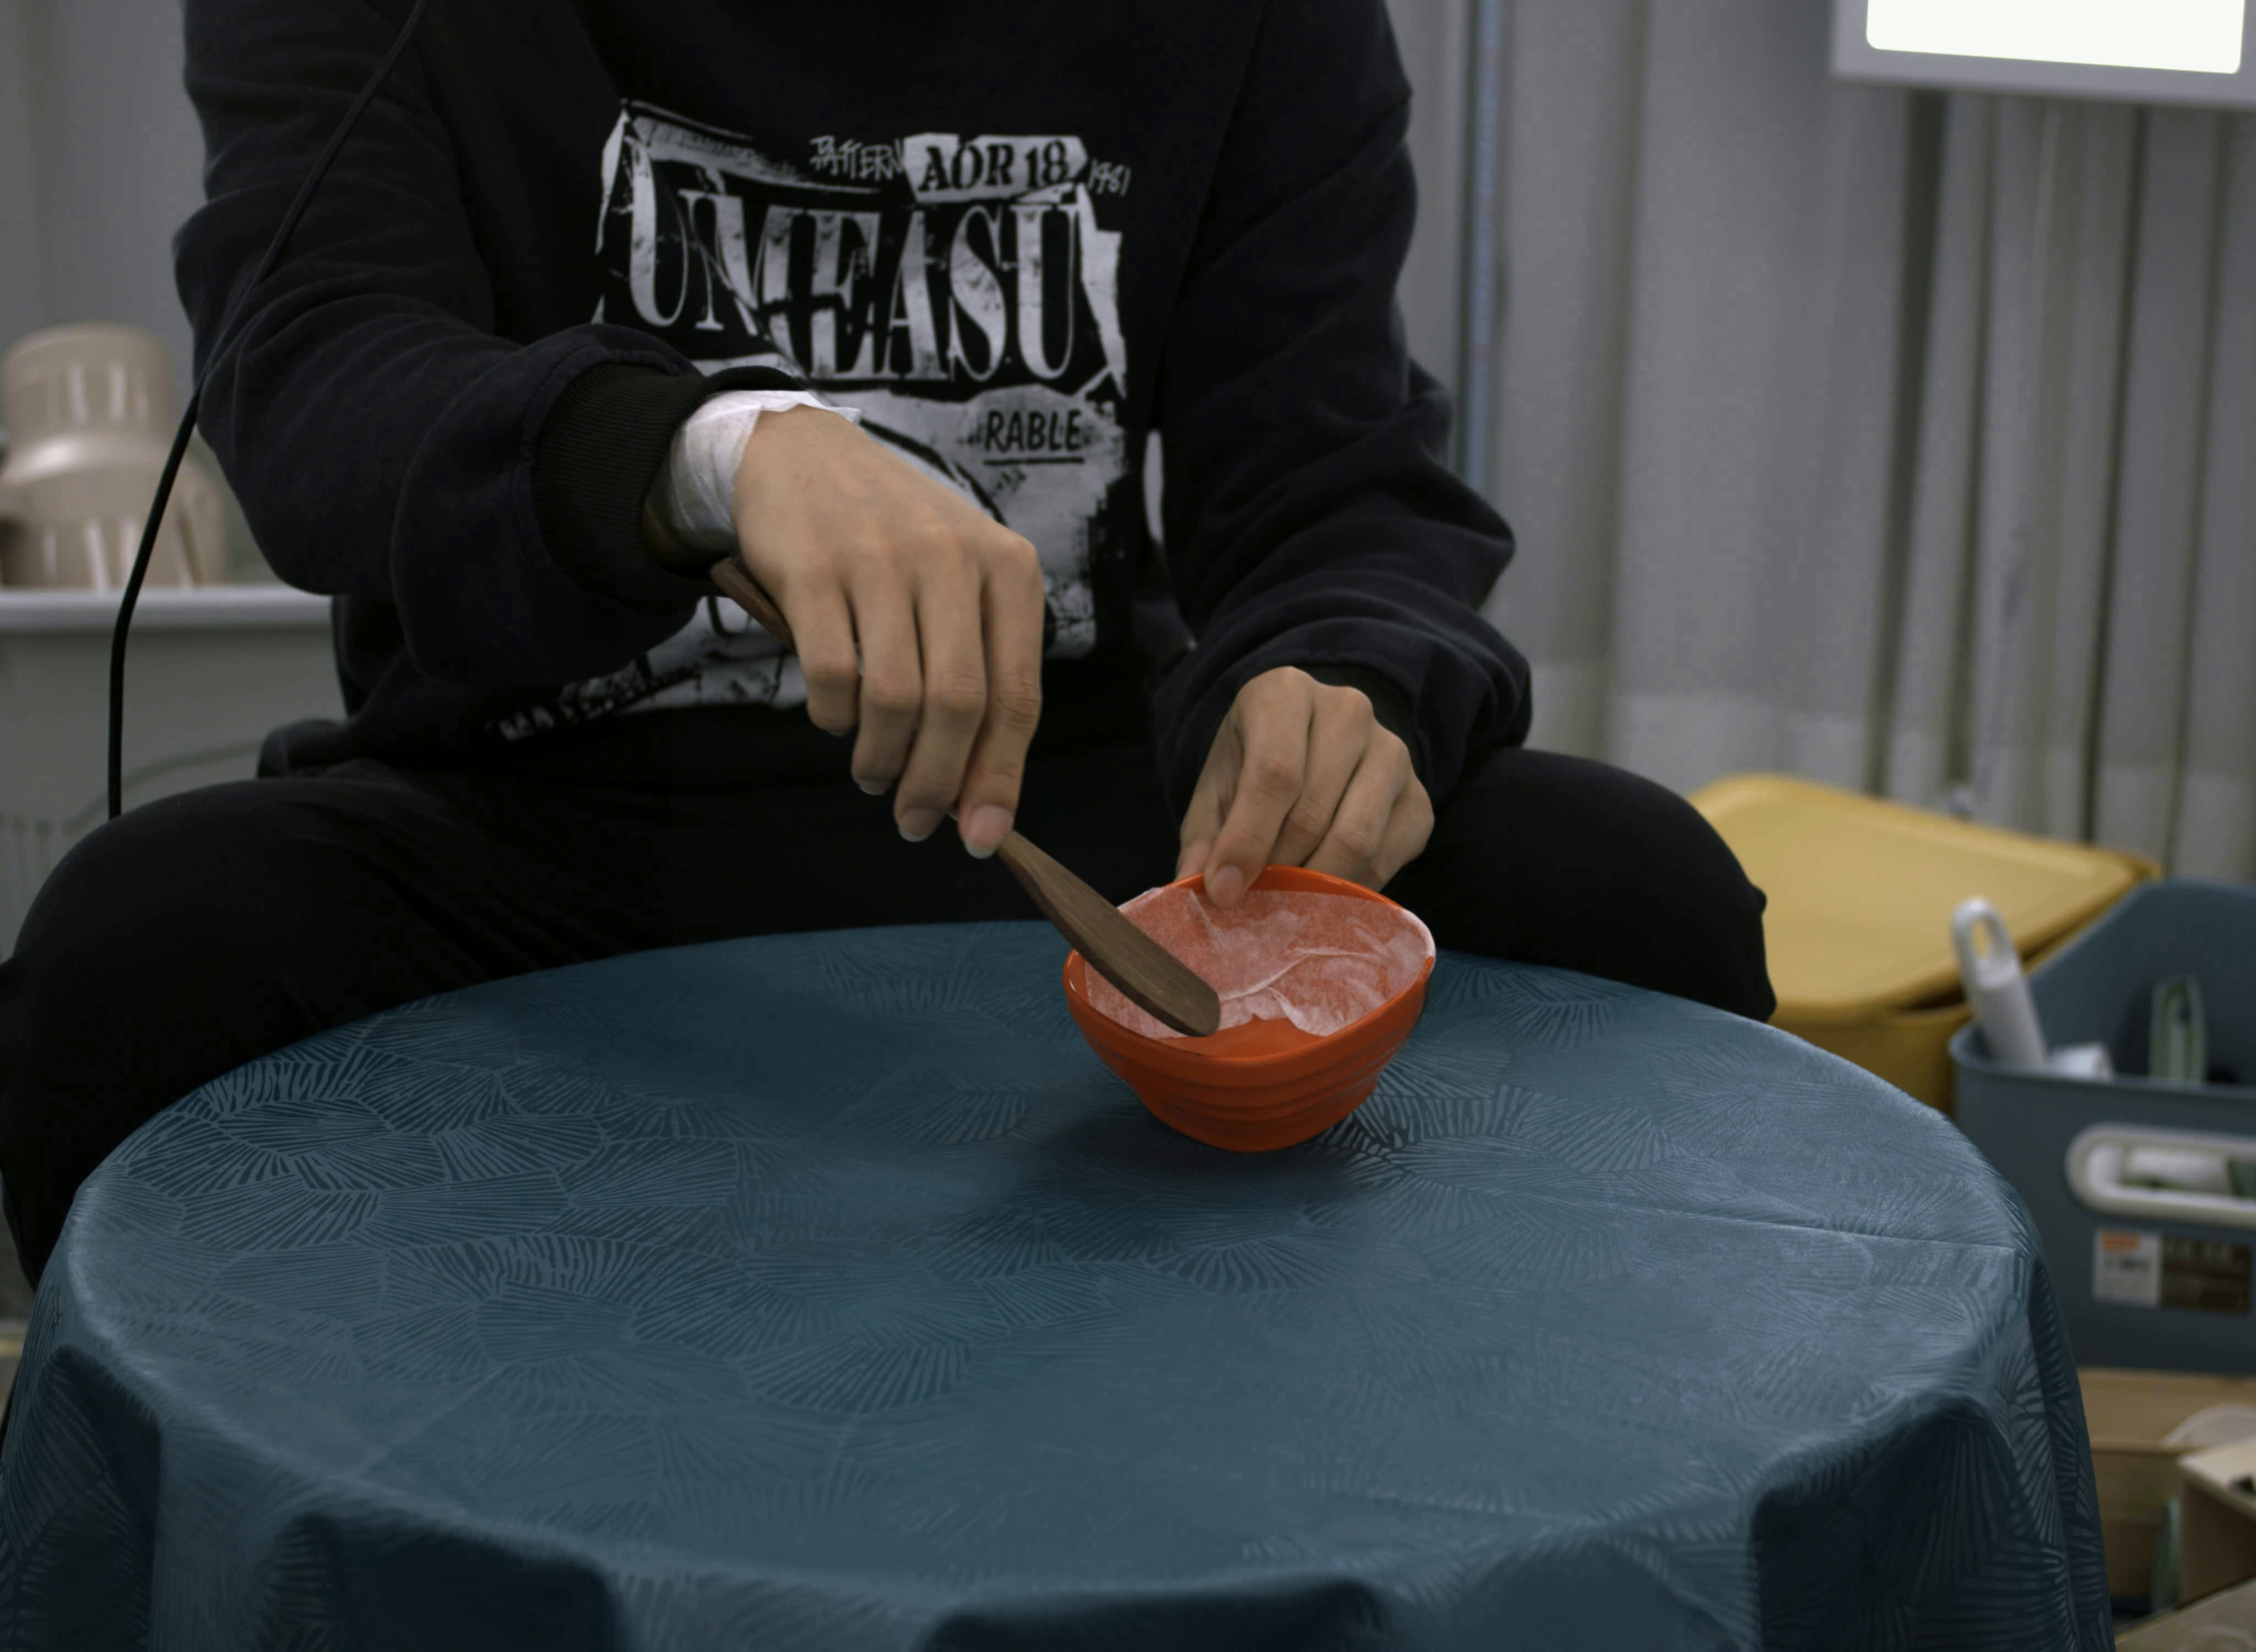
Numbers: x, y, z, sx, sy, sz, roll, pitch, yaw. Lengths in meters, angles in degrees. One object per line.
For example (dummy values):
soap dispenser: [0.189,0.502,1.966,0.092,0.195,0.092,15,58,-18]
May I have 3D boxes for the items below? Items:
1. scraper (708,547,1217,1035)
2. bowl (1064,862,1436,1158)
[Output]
scraper: [-0.051,-0.011,1.615,0.212,0.011,0.075,44,10,-6]
bowl: [0.040,0.063,1.680,0.118,0.052,0.118,-4,32,3]
